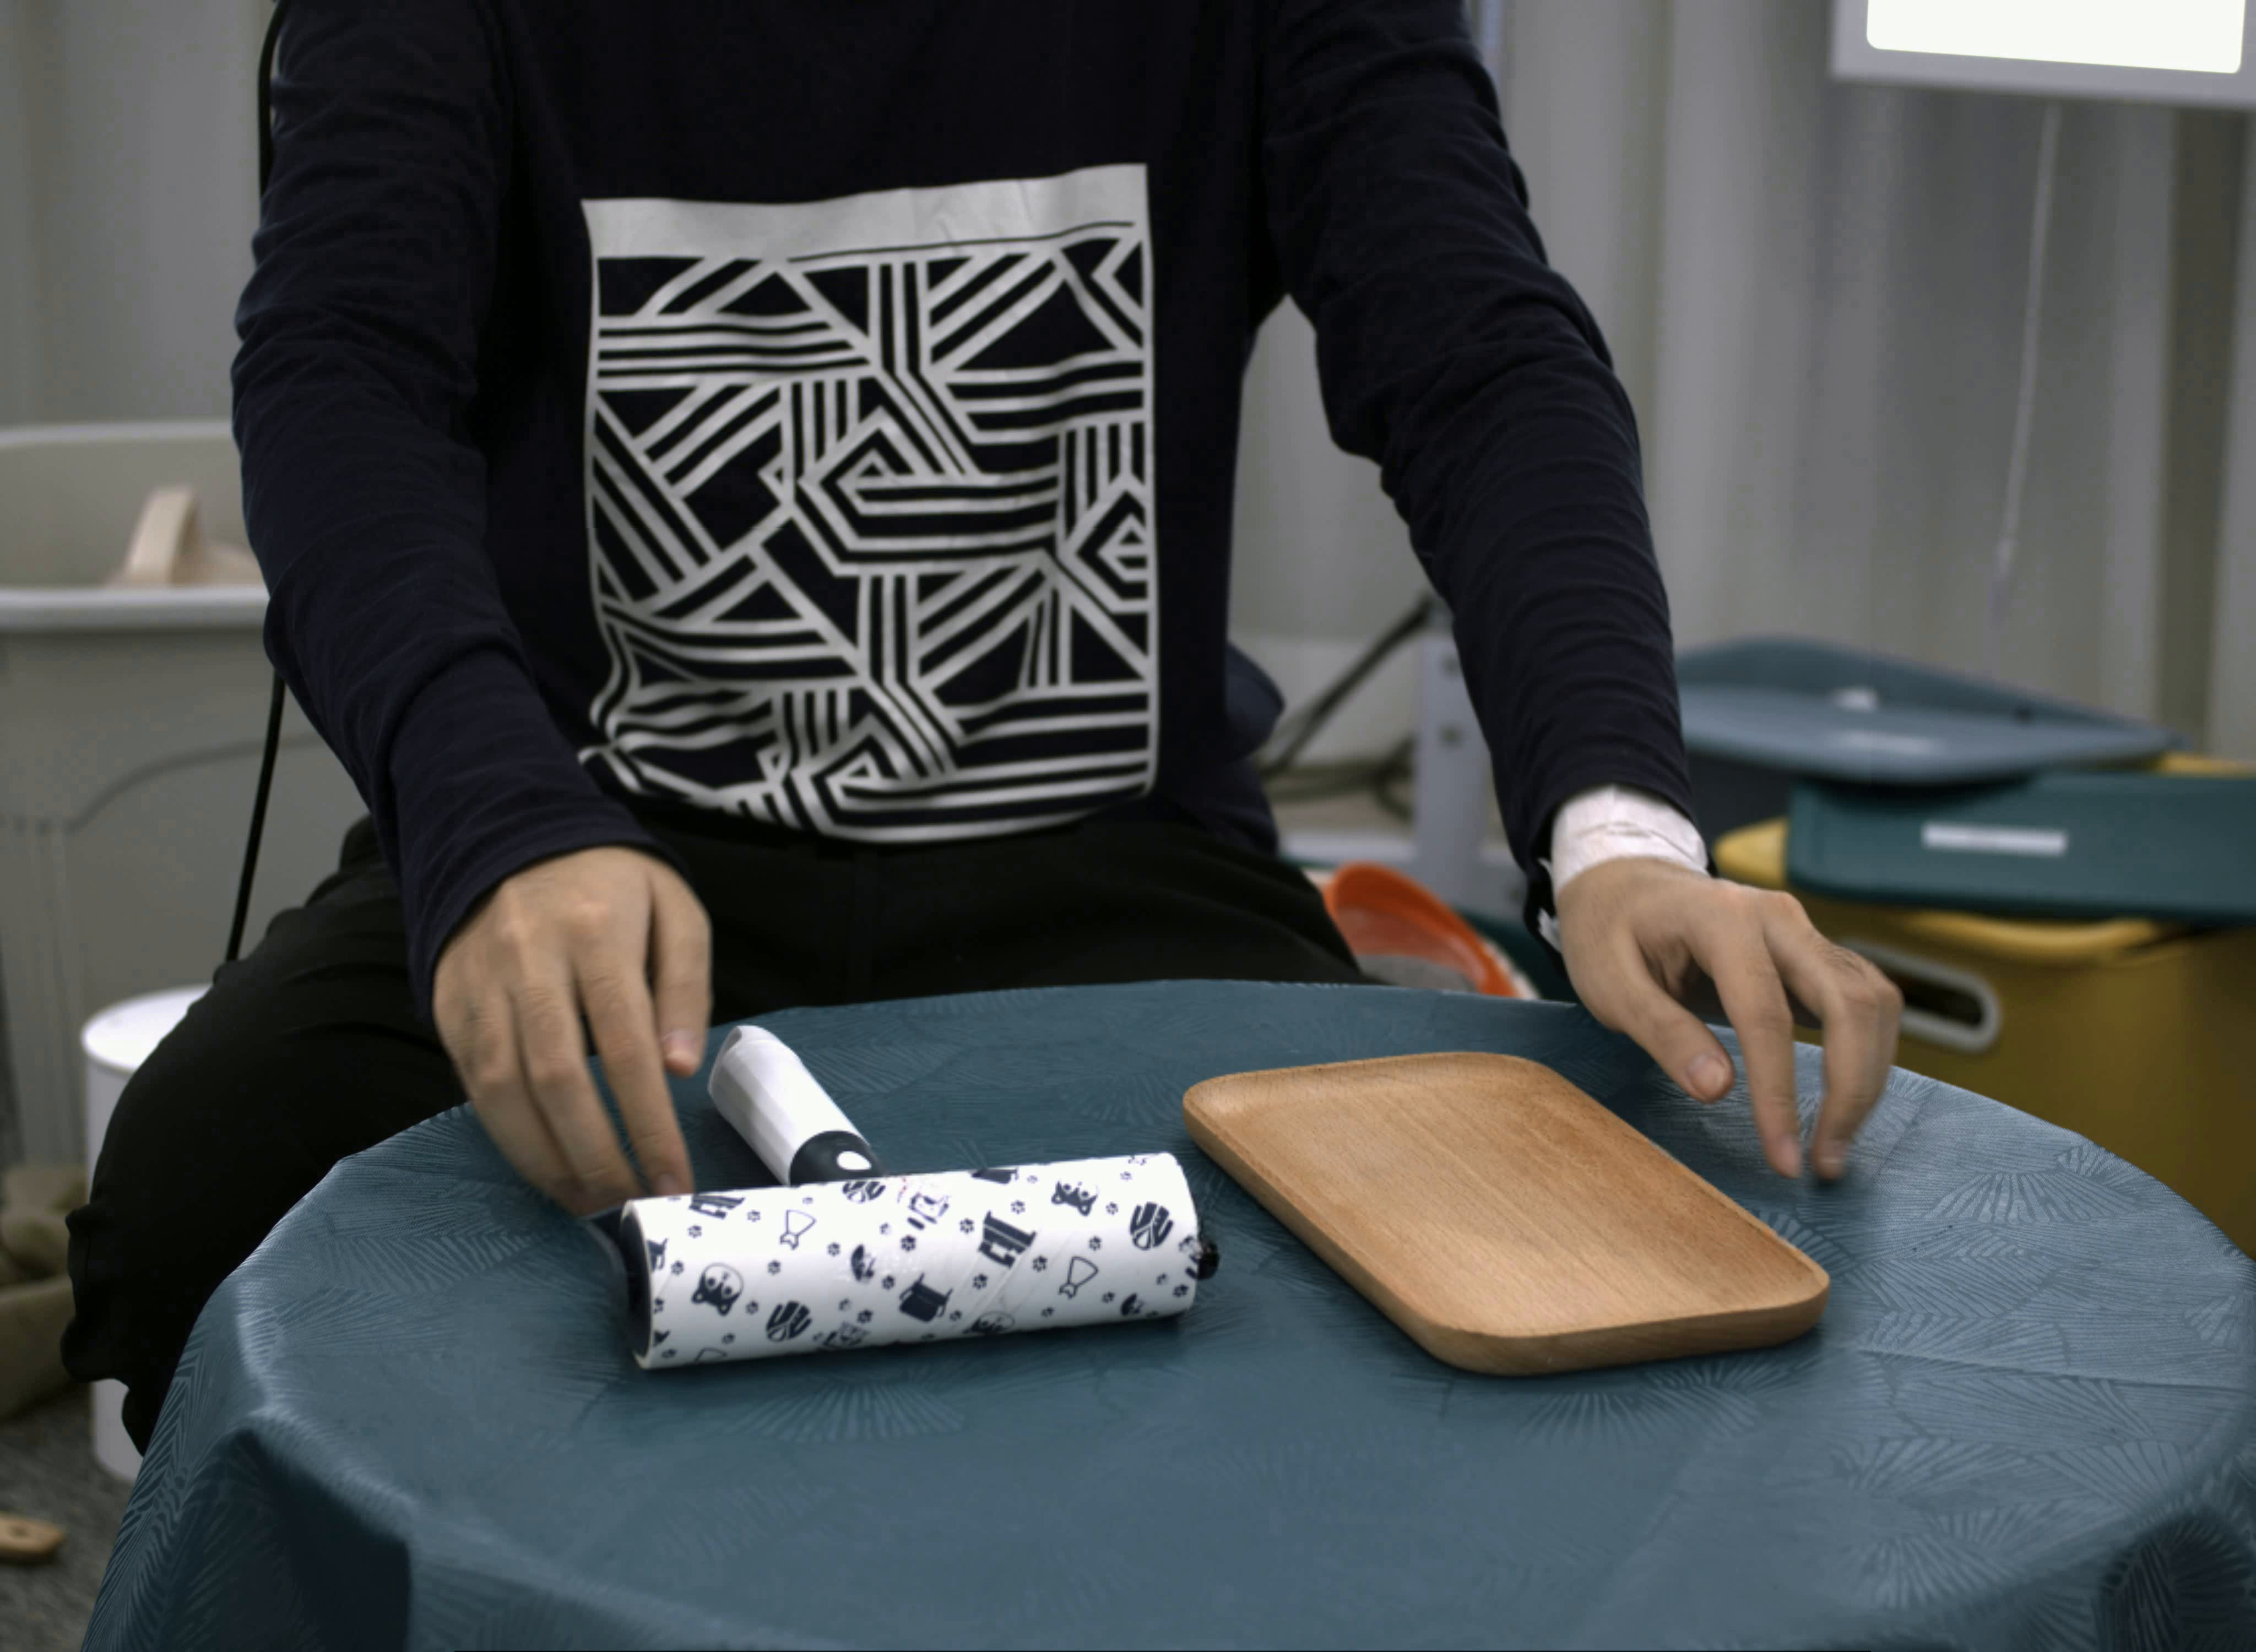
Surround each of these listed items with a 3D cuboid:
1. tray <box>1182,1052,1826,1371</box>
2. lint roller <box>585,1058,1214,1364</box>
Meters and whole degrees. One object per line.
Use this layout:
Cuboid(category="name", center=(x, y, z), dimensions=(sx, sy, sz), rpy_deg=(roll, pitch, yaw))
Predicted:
Cuboid(category="tray", center=(0.109, 0.114, 1.595), dimensions=(0.131, 0.023, 0.248), rpy_deg=(-1, 14, -18))
Cuboid(category="lint roller", center=(-0.093, 0.101, 1.587), dimensions=(0.176, 0.051, 0.244), rpy_deg=(-5, 13, -17))
